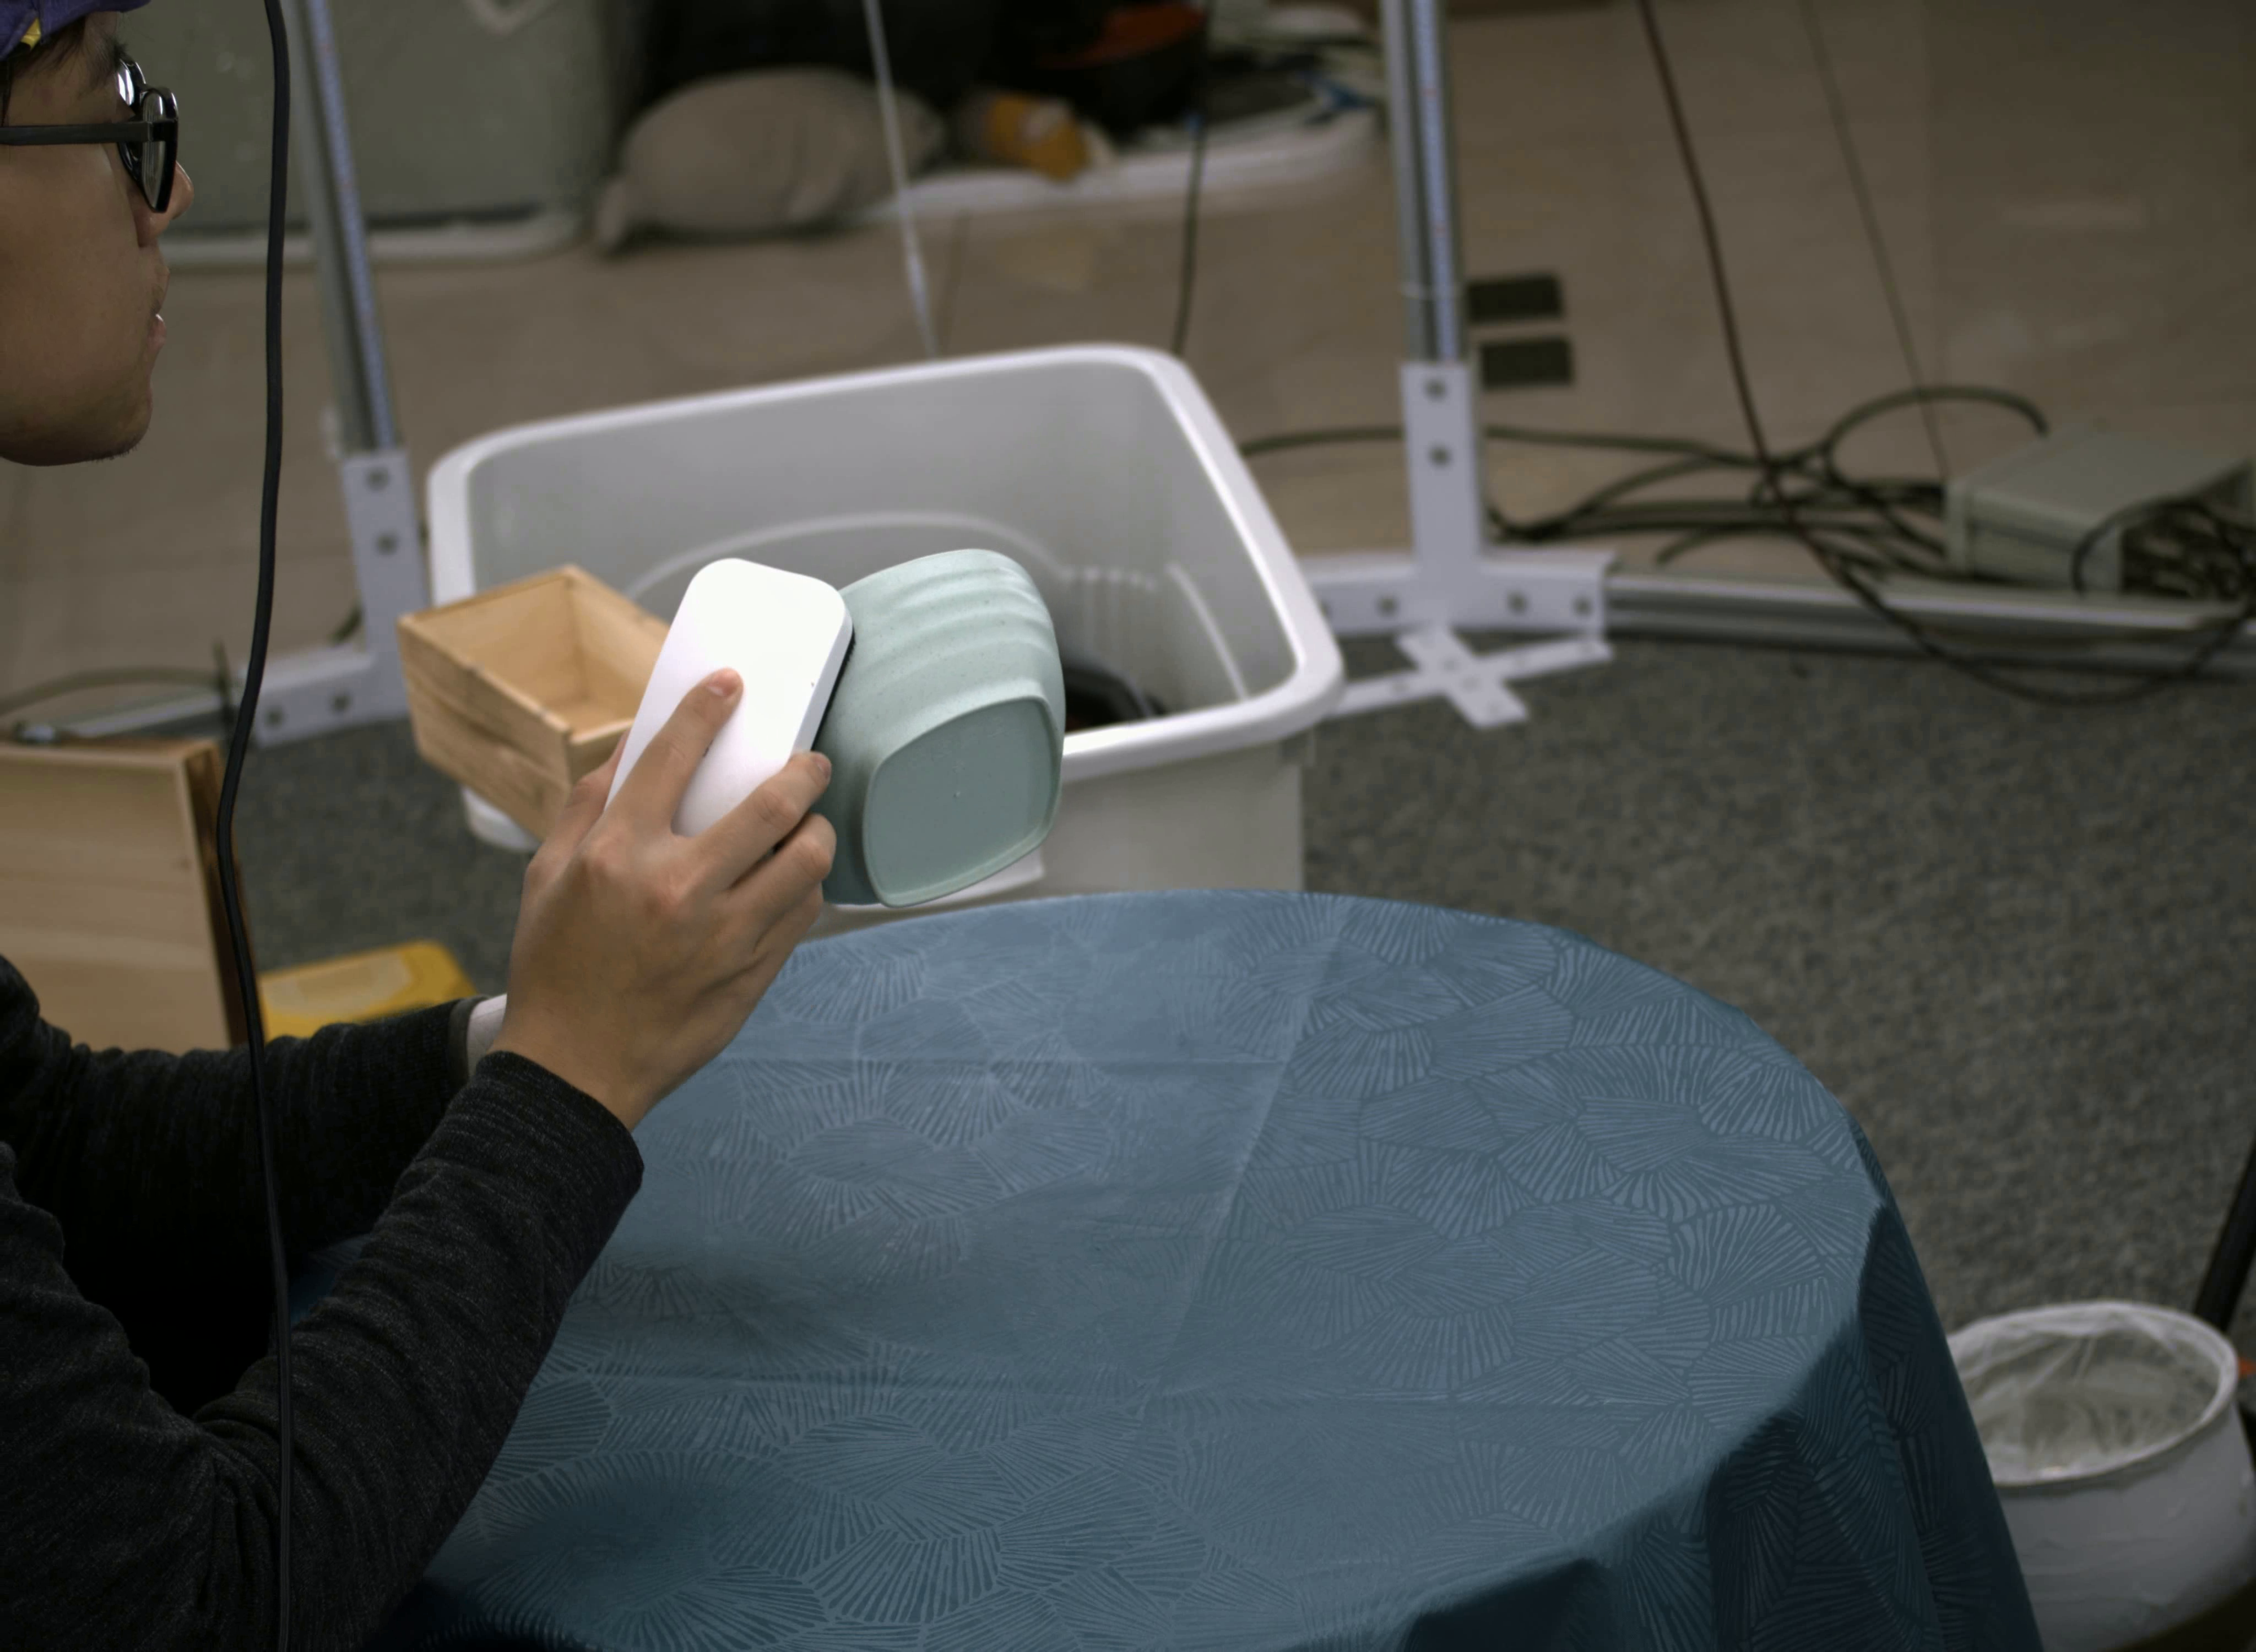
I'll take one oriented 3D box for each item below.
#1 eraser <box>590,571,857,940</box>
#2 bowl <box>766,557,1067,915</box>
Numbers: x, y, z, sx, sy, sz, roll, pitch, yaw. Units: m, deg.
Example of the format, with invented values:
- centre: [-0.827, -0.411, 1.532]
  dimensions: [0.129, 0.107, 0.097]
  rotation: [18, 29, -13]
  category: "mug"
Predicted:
- centre: [-0.144, -0.026, 2.000]
  dimensions: [0.063, 0.130, 0.035]
  rotation: [16, -12, 21]
  category: "eraser"
- centre: [-0.075, -0.022, 2.065]
  dimensions: [0.150, 0.154, 0.058]
  rotation: [-18, 45, -24]
  category: "bowl"
